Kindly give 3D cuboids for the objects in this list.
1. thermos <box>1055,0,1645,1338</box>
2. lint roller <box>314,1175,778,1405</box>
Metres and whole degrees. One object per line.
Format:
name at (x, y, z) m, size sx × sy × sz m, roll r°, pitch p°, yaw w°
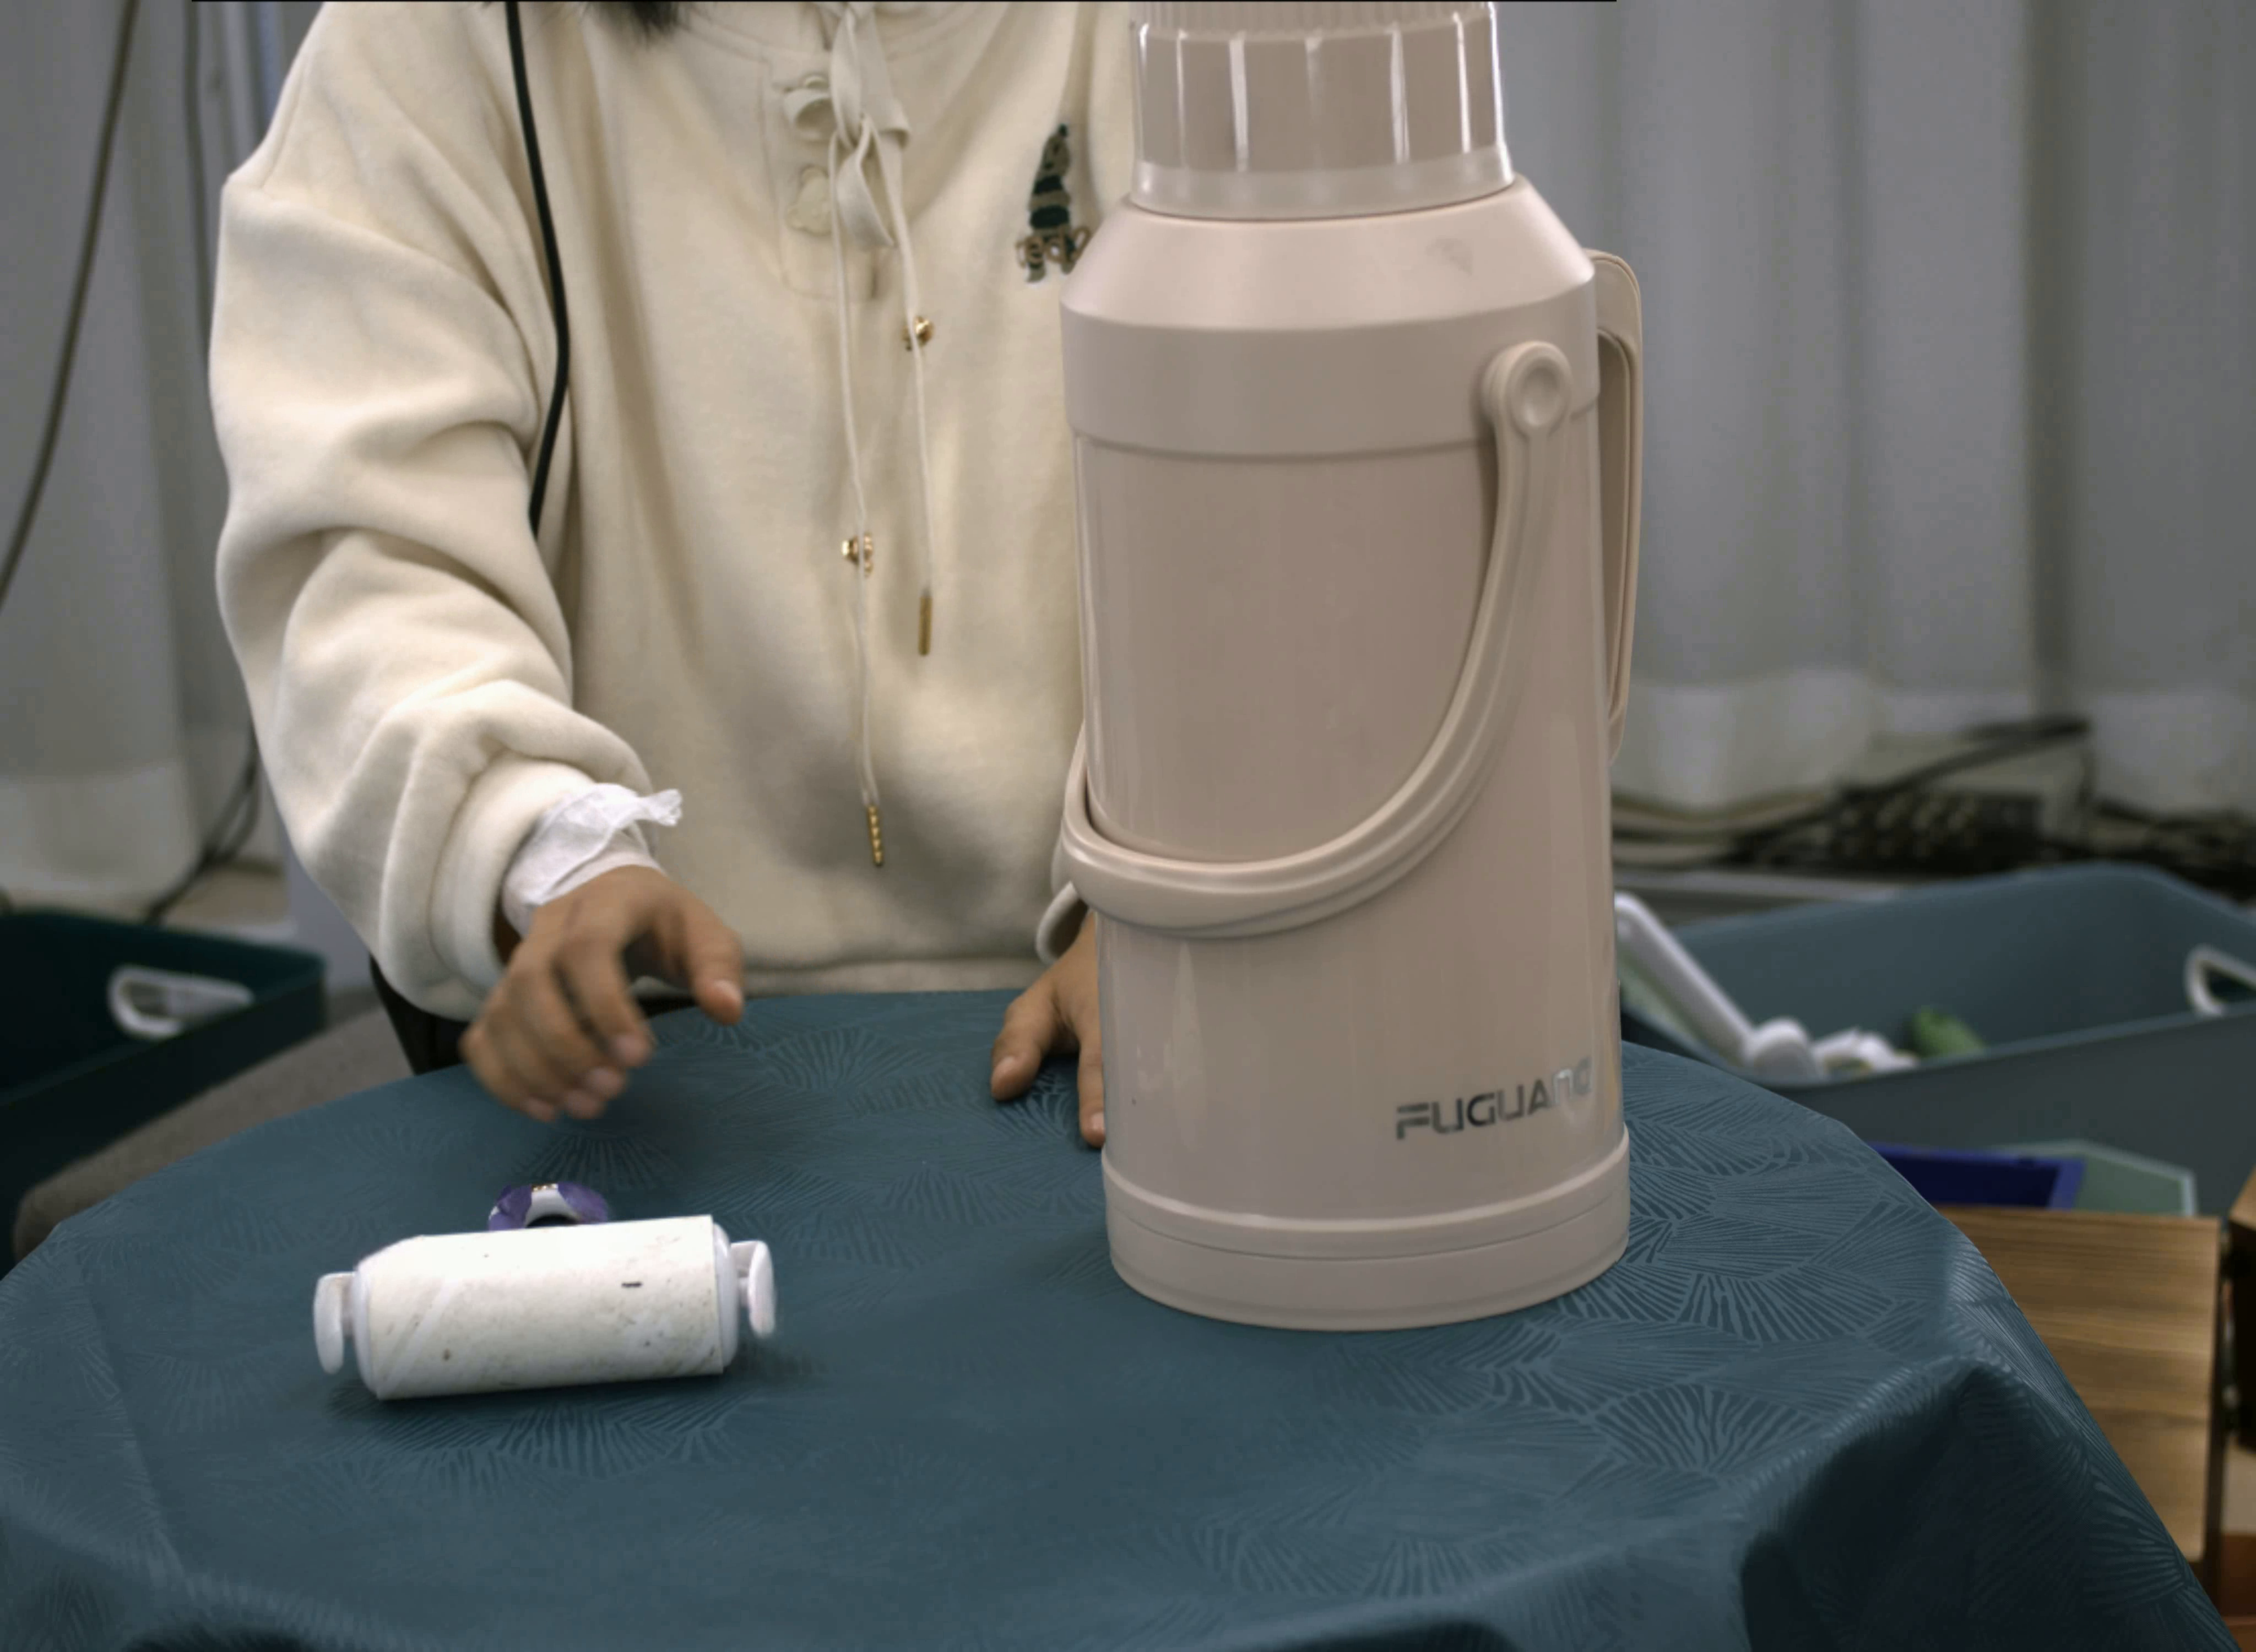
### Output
thermos at (0.074, -0.067, 1.617) m, size 0.206 × 0.405 × 0.176 m, roll -13°, pitch 17°, yaw -38°
lint roller at (-0.171, 0.121, 1.631) m, size 0.132 × 0.050 × 0.182 m, roll -4°, pitch 17°, yaw -3°
